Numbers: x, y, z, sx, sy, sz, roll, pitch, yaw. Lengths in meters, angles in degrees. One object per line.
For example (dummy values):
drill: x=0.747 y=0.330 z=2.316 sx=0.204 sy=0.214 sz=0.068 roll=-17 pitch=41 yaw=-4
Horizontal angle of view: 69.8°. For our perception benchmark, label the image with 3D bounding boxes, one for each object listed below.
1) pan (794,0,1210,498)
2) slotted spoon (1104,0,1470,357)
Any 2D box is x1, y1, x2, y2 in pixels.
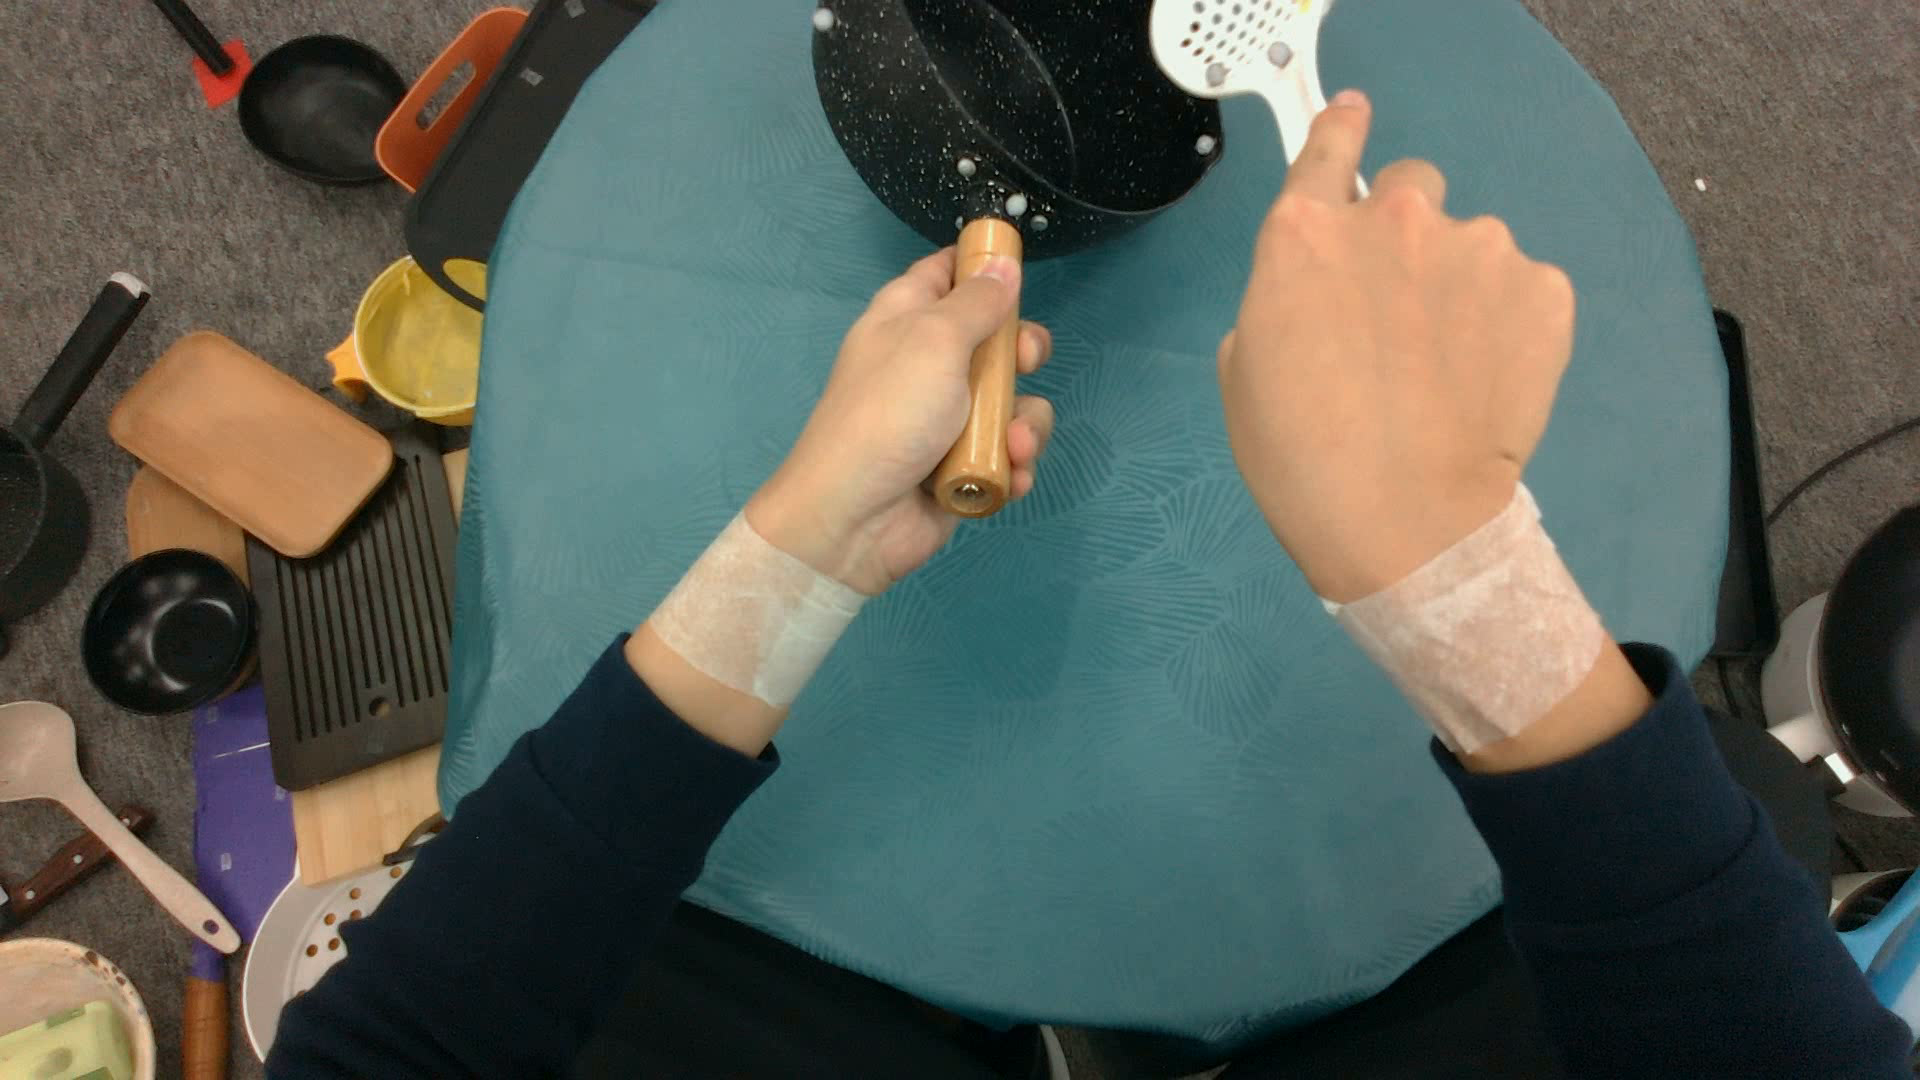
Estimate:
pan: x=0.006 y=-0.151 z=0.569 sx=0.207 sy=0.108 sz=0.344 roll=28 pitch=56 yaw=-30
slotted spoon: x=0.117 y=-0.177 z=0.503 sx=0.050 sy=0.136 sz=0.349 roll=24 pitch=40 yaw=-20
